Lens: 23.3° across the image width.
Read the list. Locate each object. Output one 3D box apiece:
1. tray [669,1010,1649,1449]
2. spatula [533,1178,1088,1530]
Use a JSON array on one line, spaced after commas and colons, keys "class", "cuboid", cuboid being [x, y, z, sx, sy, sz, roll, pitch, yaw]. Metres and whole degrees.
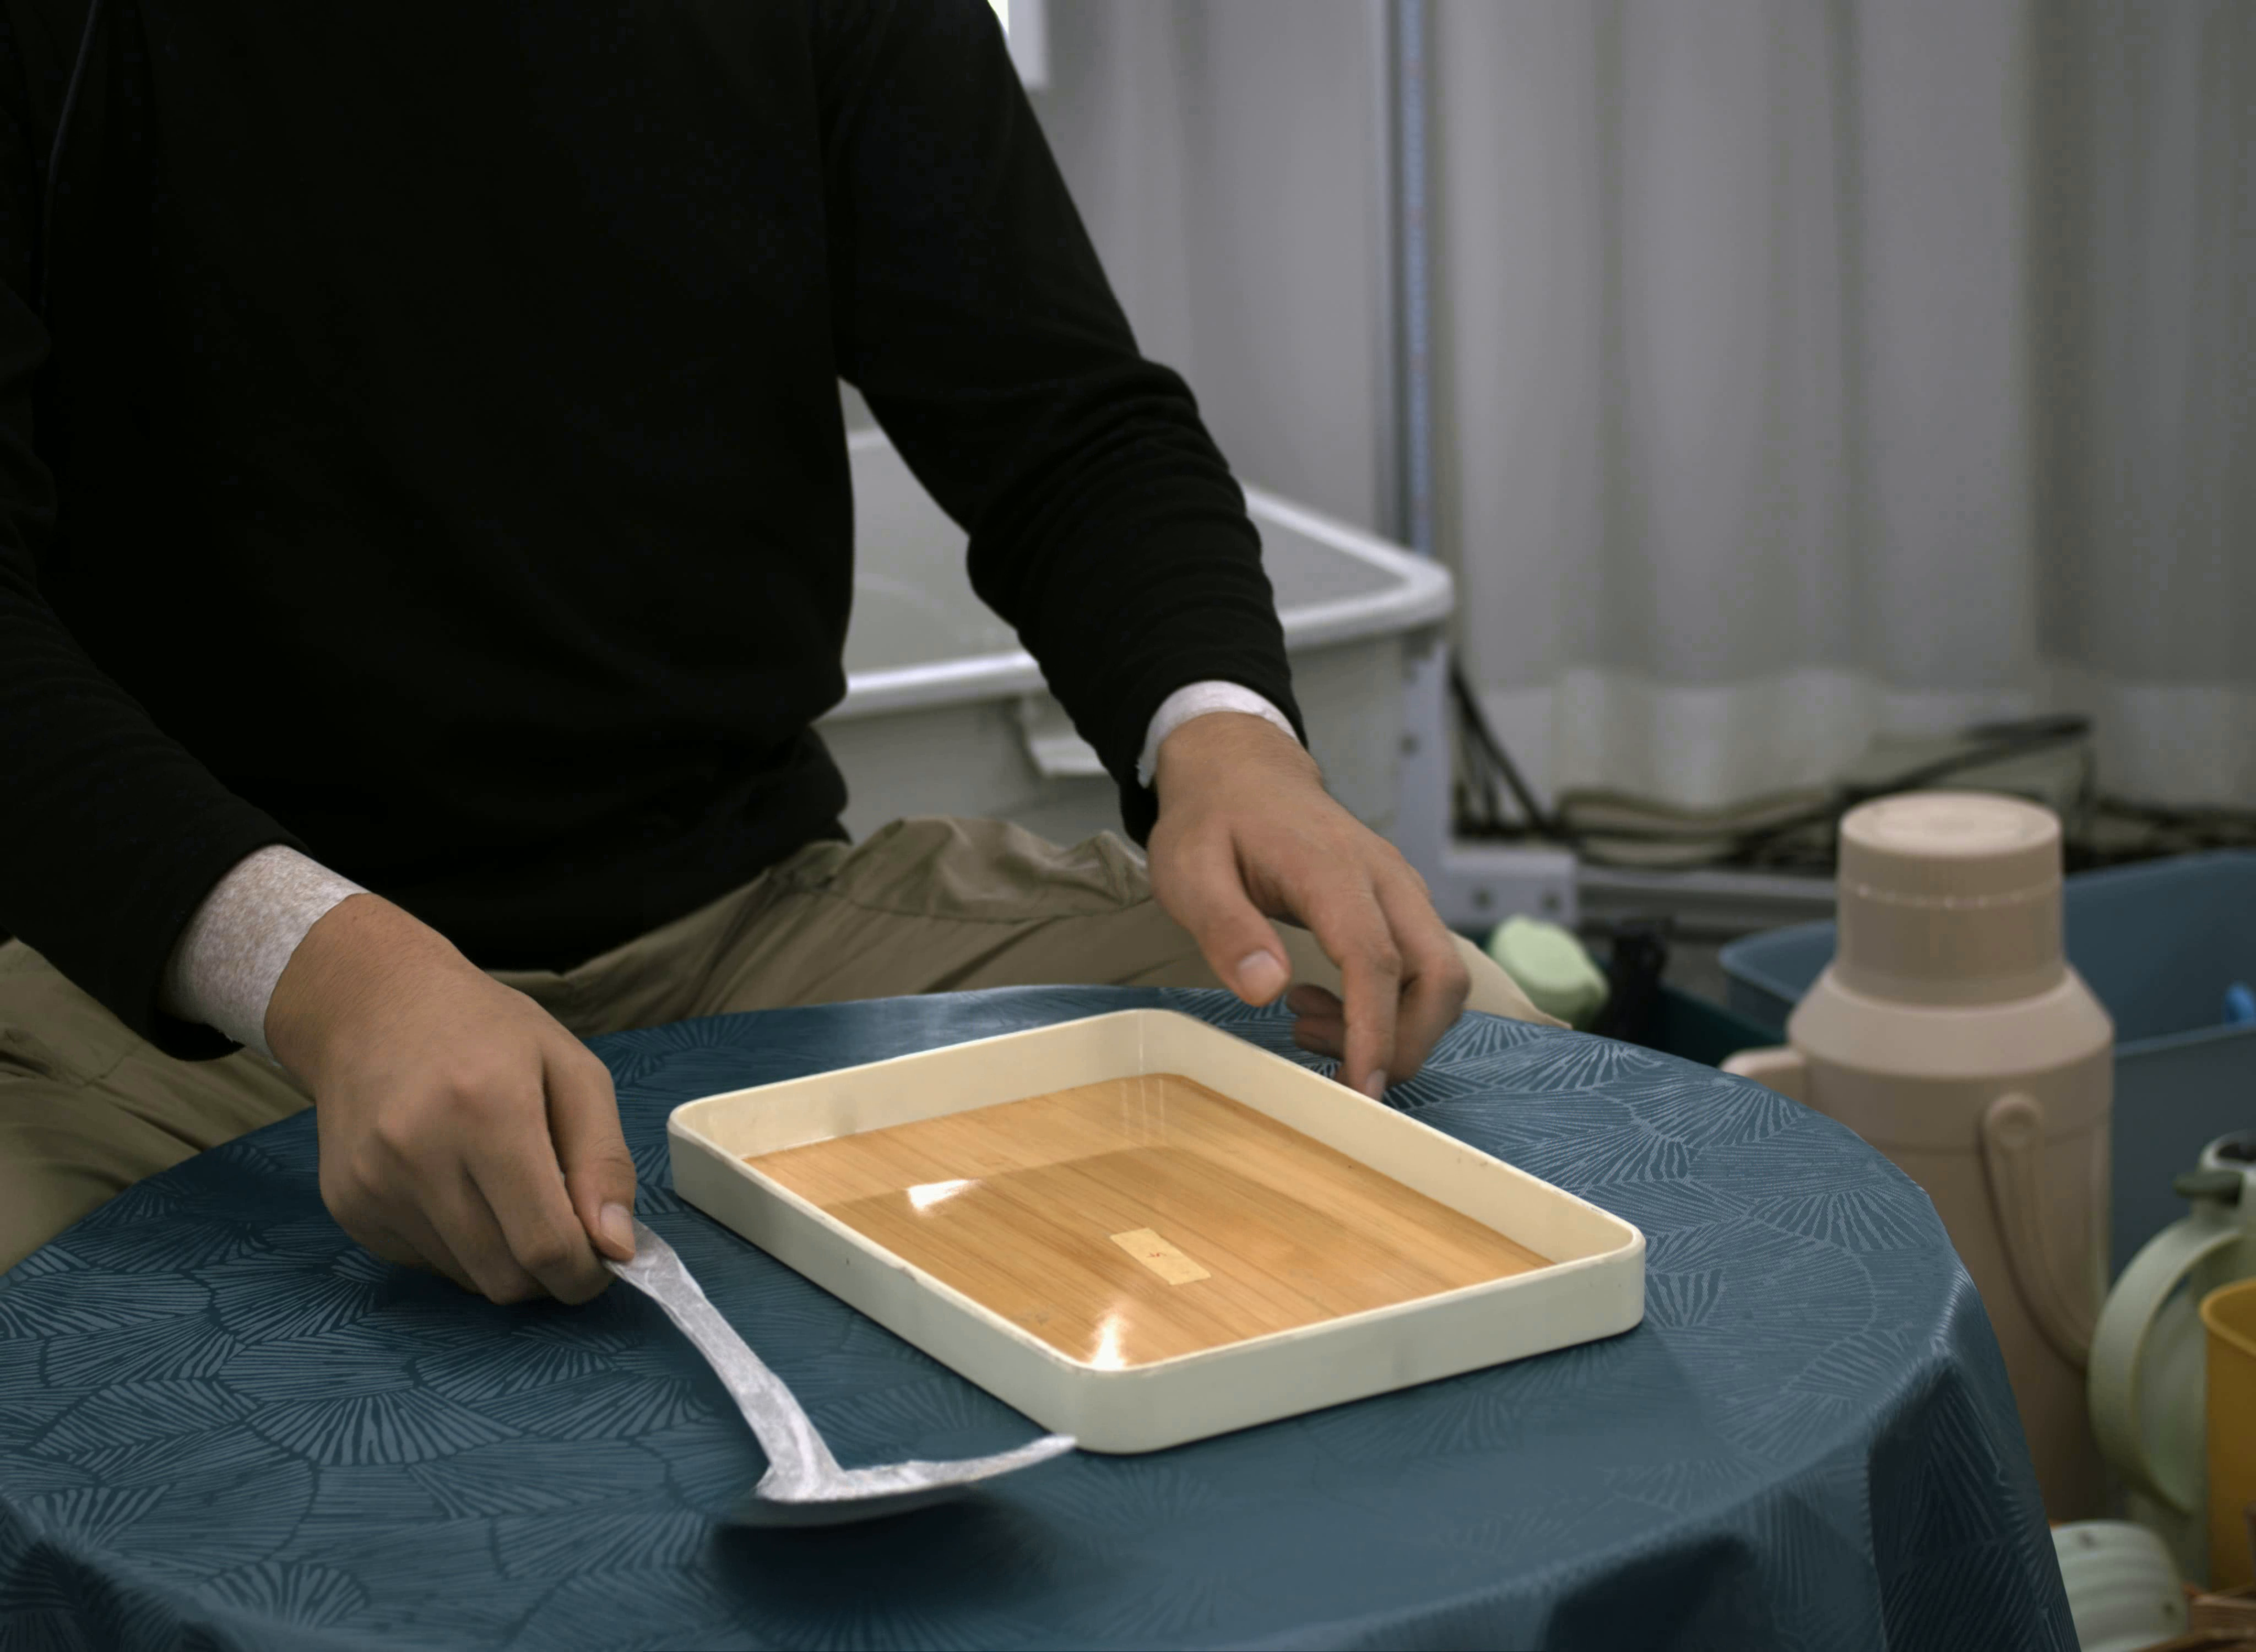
[{"class": "tray", "cuboid": [0.003, 0.117, 1.653, 0.191, 0.027, 0.302, -11, 16, -27]}, {"class": "spatula", "cuboid": [-0.116, 0.141, 1.555, 0.098, 0.044, 0.368, -8, 17, -21]}]
